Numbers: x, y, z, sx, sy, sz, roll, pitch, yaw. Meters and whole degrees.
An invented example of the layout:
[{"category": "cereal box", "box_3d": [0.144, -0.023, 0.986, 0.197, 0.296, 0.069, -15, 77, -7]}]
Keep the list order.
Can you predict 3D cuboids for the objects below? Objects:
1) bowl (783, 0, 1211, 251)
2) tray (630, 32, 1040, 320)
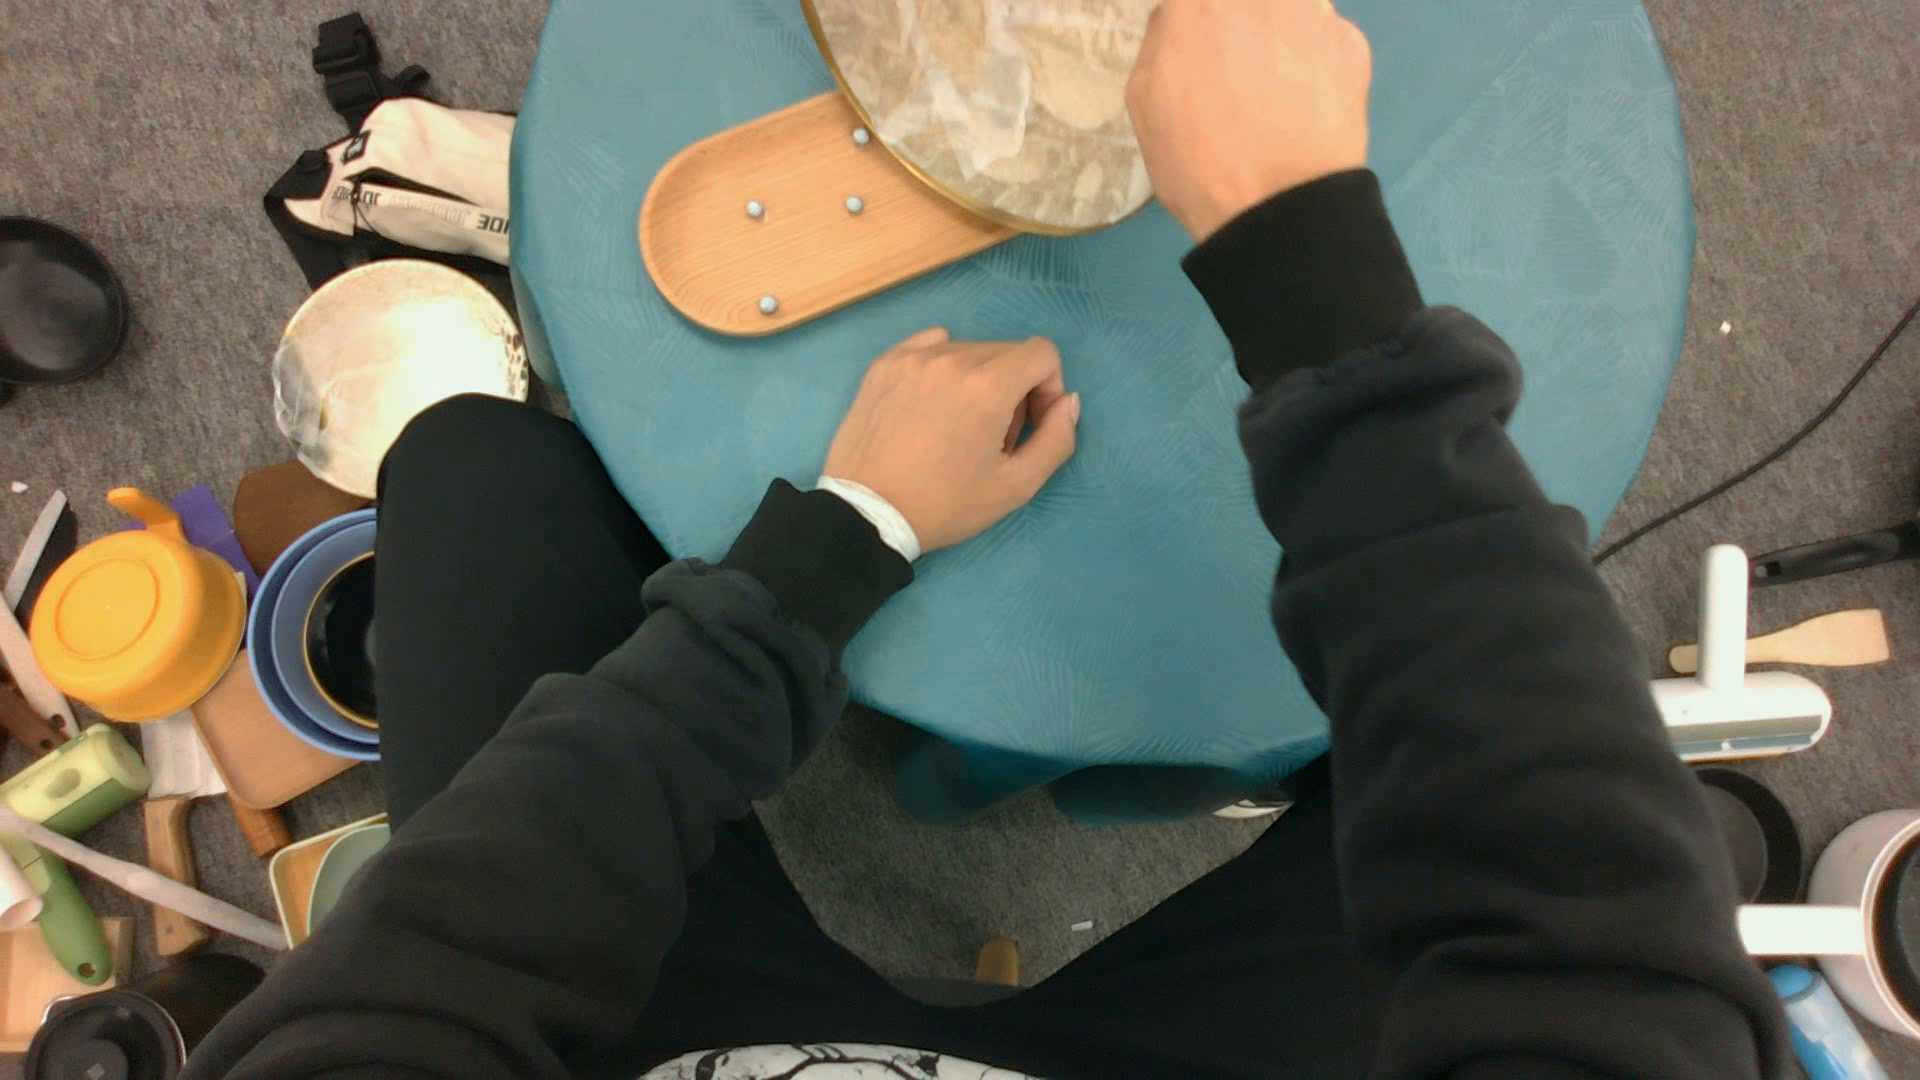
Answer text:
[{"category": "bowl", "box_3d": [0.028, -0.240, 0.605, 0.214, 0.213, 0.095, 36, 60, 1]}, {"category": "tray", "box_3d": [-0.050, -0.183, 0.679, 0.231, 0.020, 0.102, -25, 87, -10]}]
